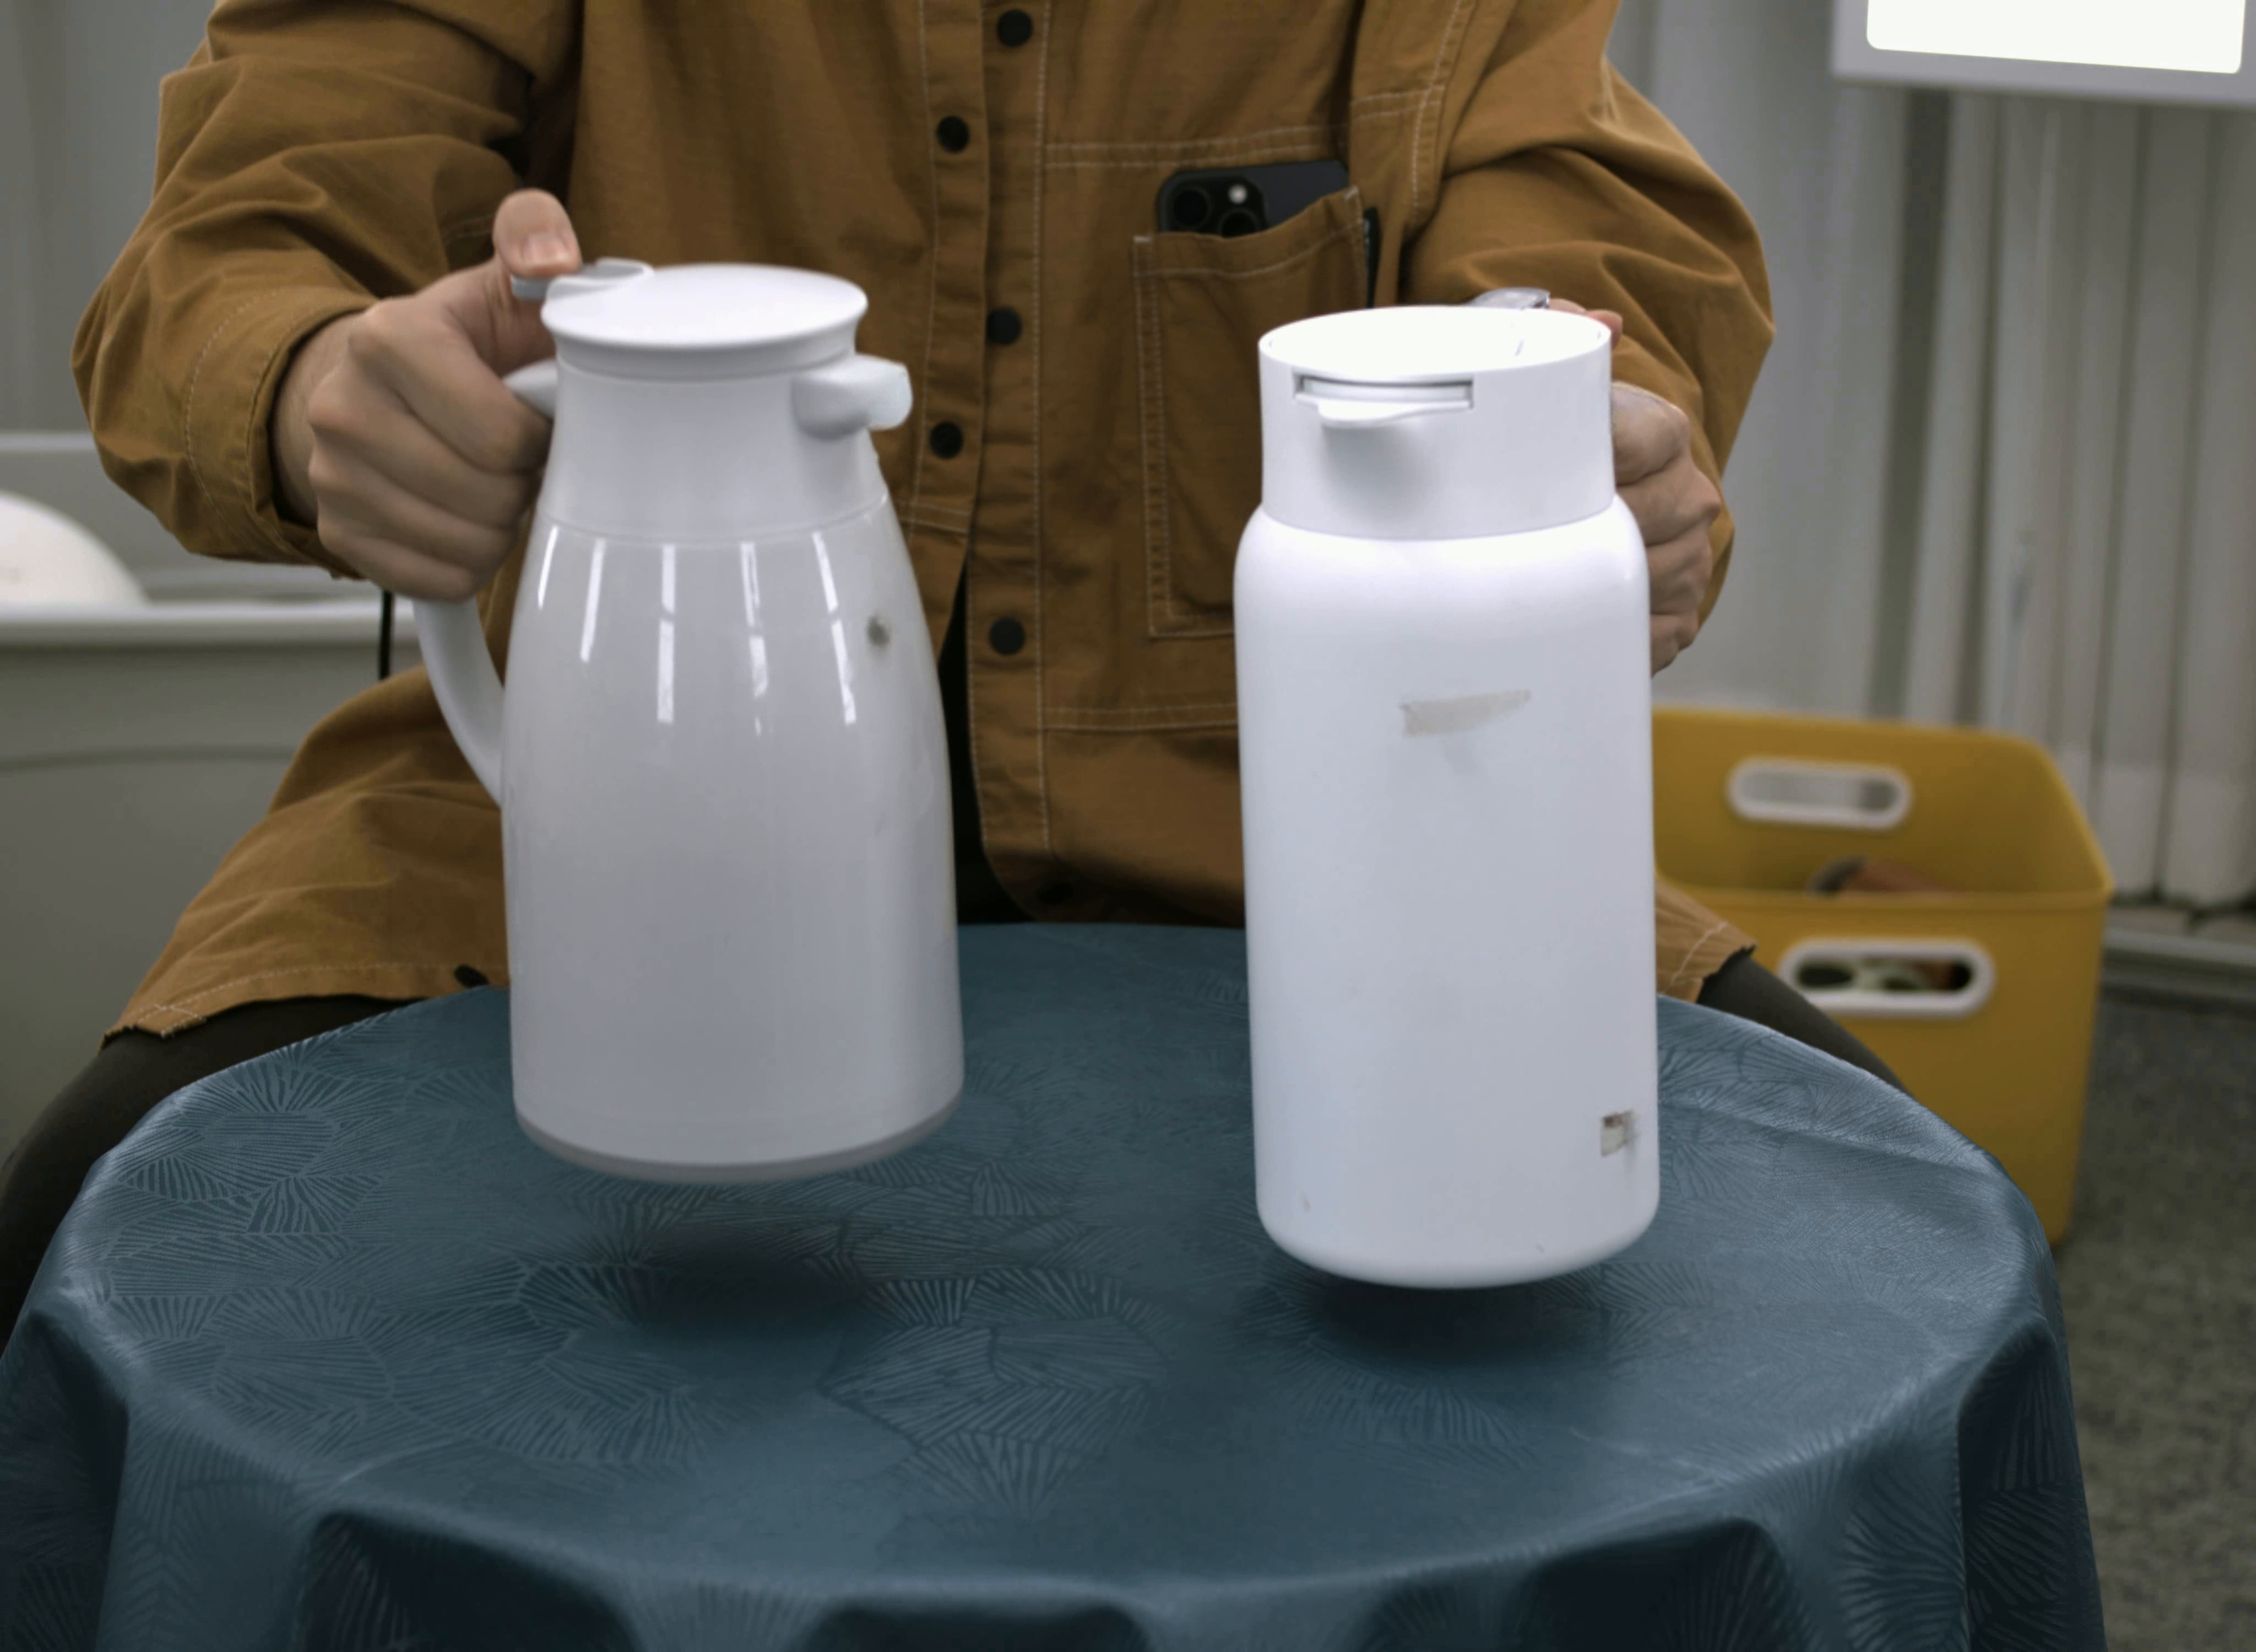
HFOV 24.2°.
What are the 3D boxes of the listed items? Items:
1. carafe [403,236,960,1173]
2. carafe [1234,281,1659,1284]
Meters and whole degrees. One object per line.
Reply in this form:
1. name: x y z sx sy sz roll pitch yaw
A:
1. carafe: -0.134 -0.042 1.503 0.166 0.251 0.133 9 21 28
2. carafe: 0.096 -0.017 1.505 0.122 0.271 0.173 2 17 23
